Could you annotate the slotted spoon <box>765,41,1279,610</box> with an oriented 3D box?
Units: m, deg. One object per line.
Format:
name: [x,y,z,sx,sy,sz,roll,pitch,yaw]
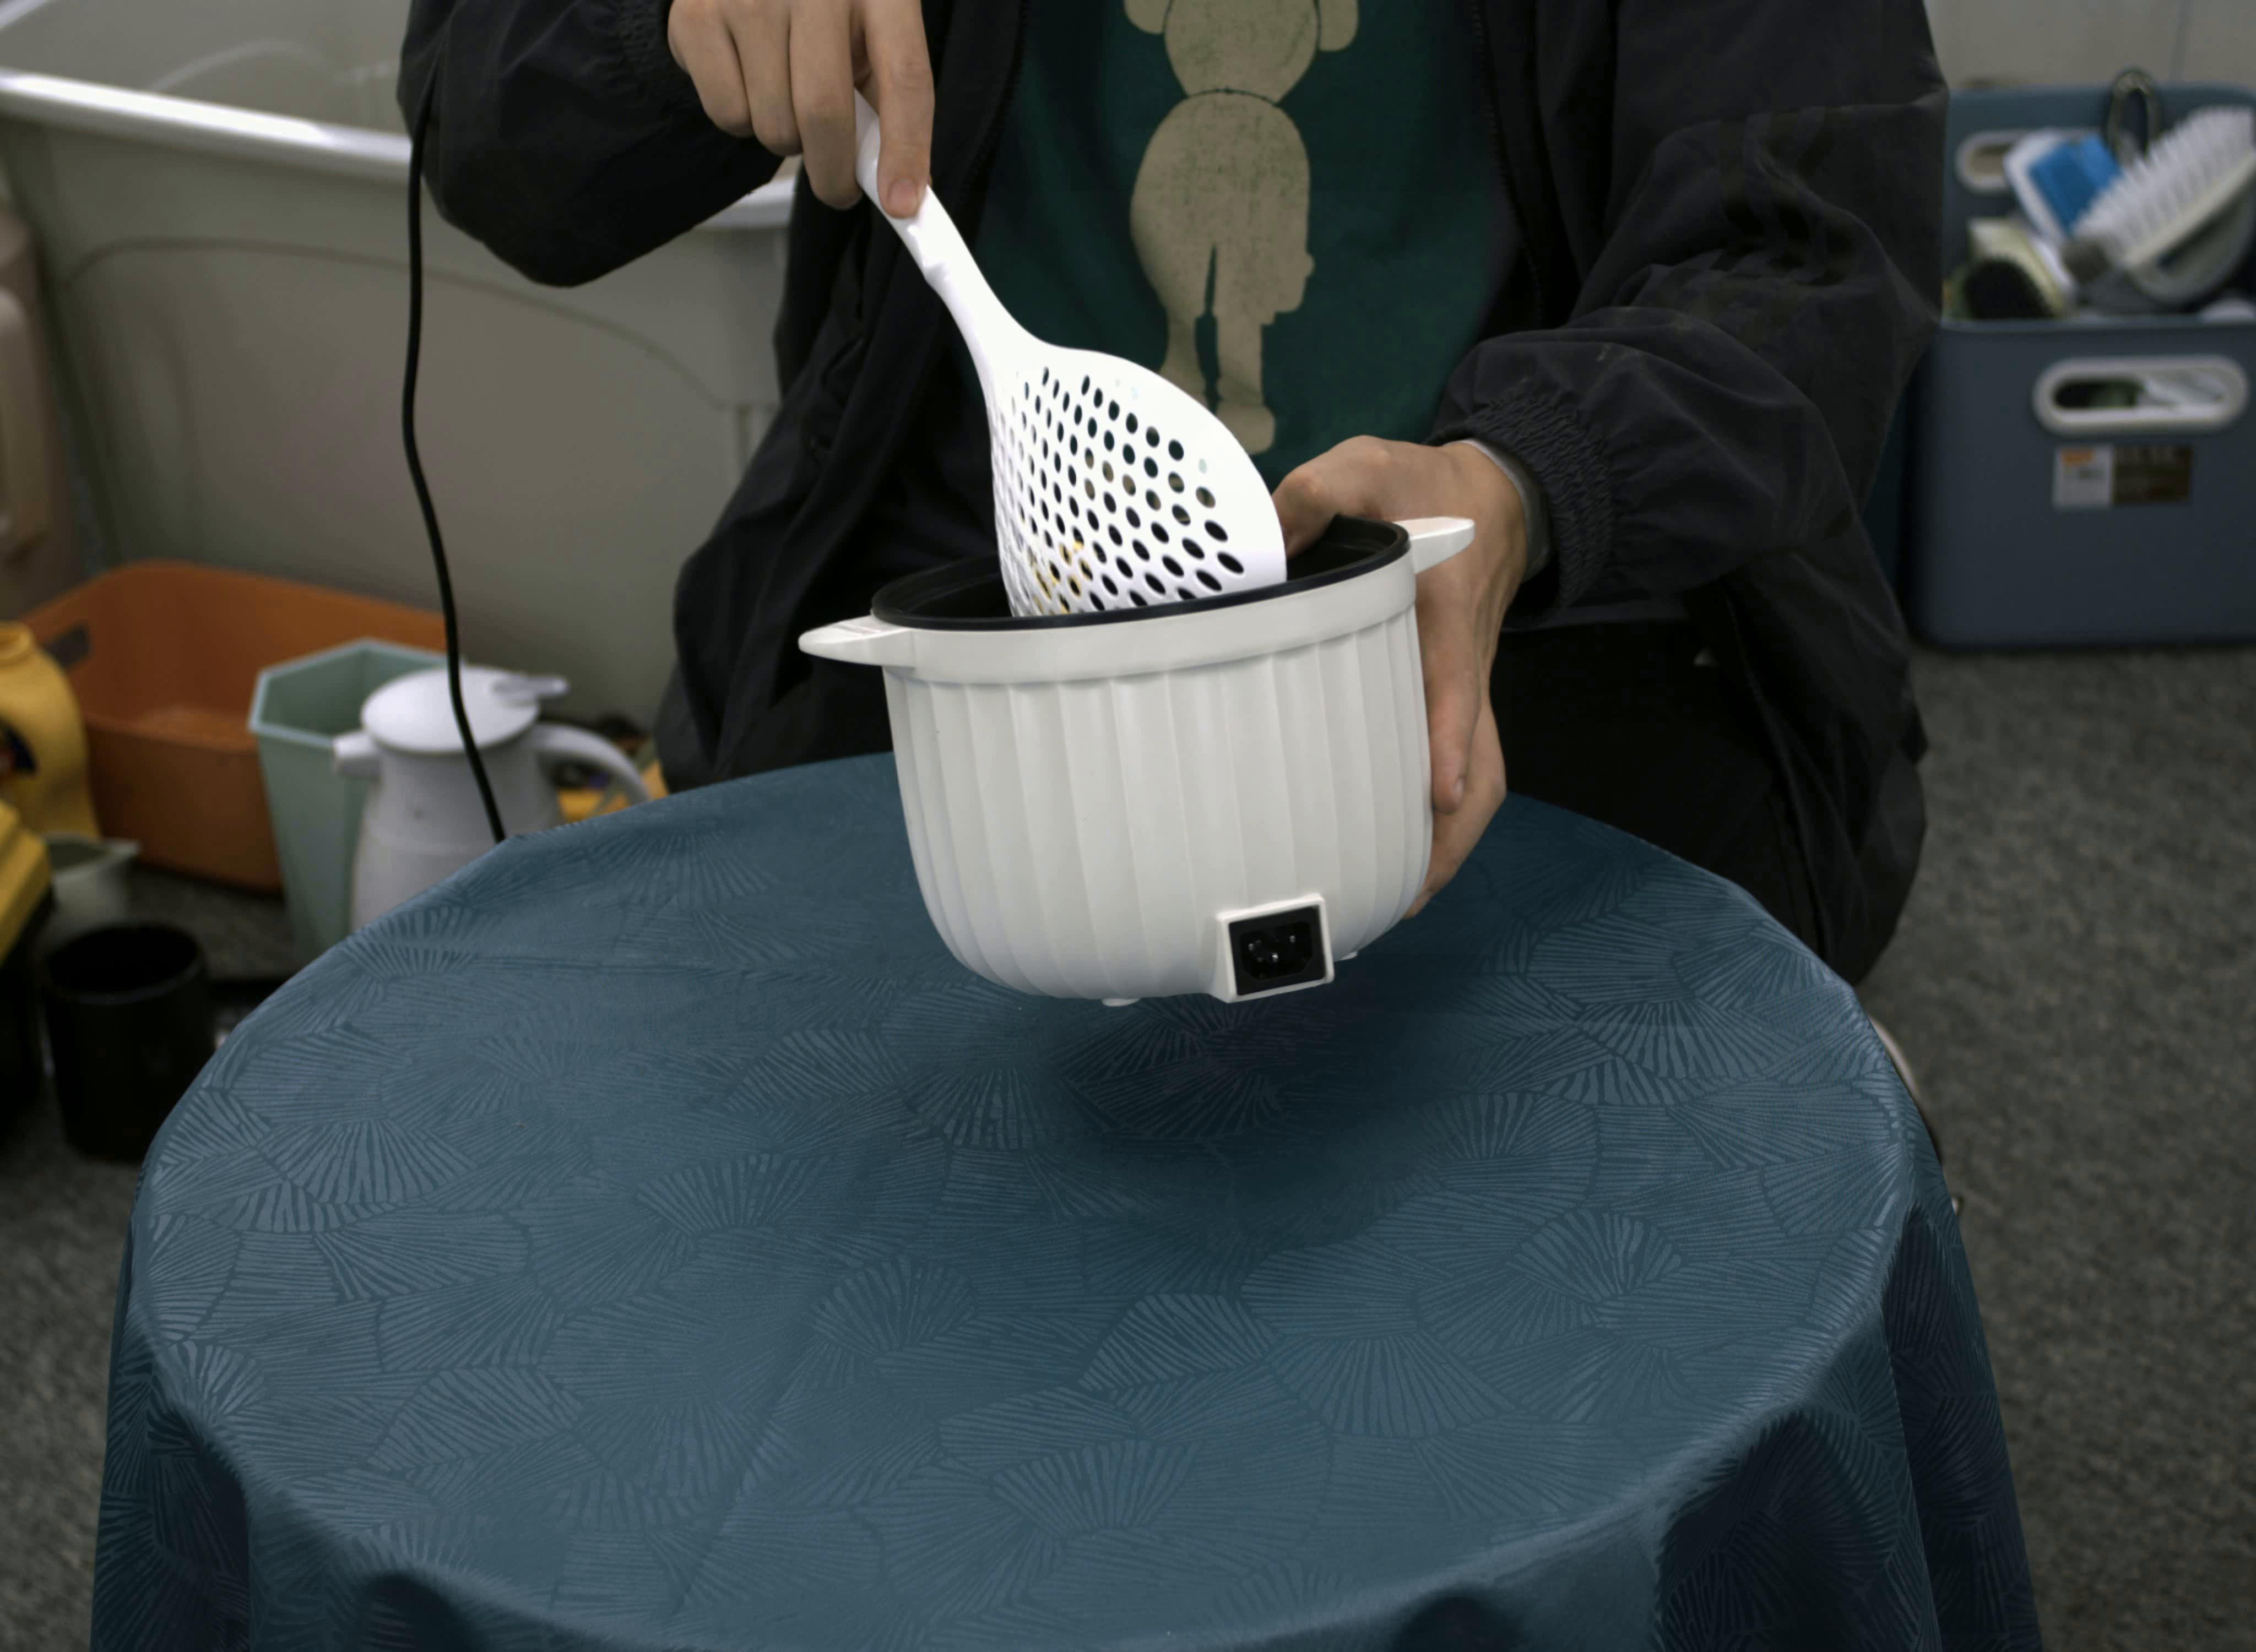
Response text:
slotted spoon: [-0.047,-0.156,1.936,0.050,0.134,0.352,2,40,-31]

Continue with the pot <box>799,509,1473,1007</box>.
pot: [0.008,-0.023,1.883,0.241,0.142,0.190,-10,14,-20]
